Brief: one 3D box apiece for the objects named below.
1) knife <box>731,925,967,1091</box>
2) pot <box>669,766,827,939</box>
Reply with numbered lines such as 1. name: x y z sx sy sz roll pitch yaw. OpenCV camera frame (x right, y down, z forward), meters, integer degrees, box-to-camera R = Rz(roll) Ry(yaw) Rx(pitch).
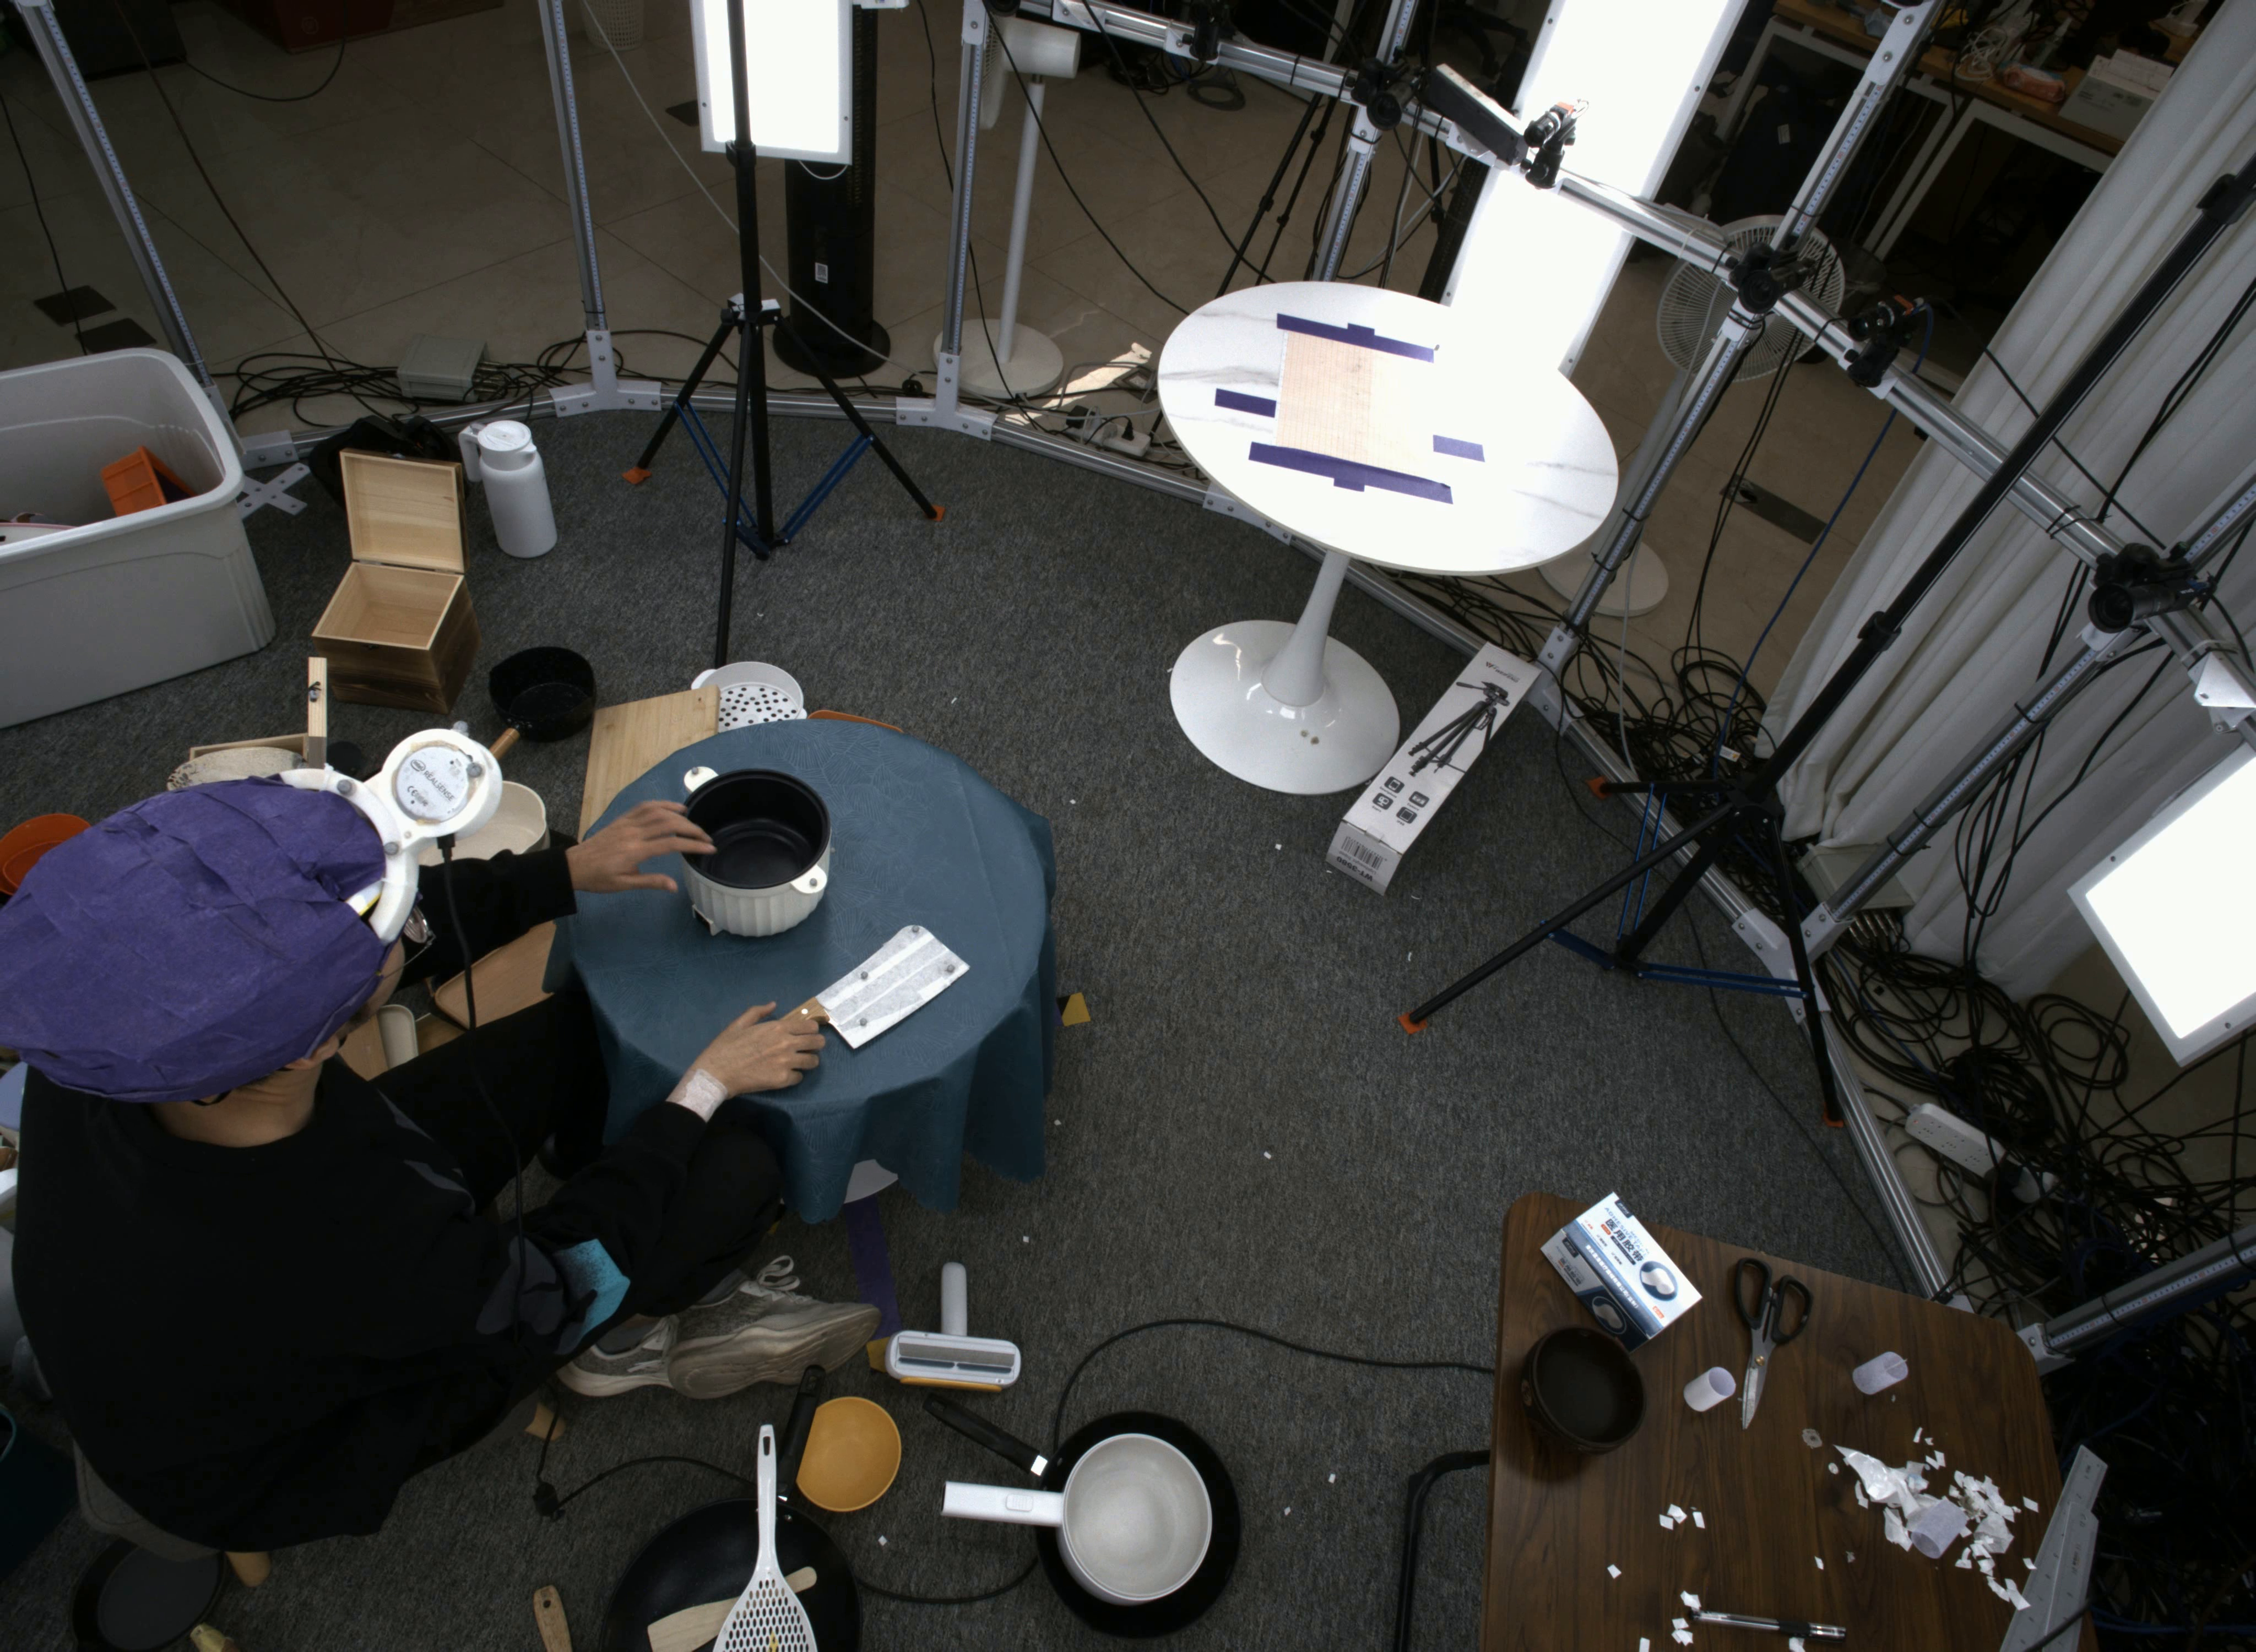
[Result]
1. knife: -0.338 0.216 1.563 0.316 0.022 0.111 -32 67 -35
2. pot: -0.457 0.035 1.588 0.236 0.145 0.190 39 57 14
